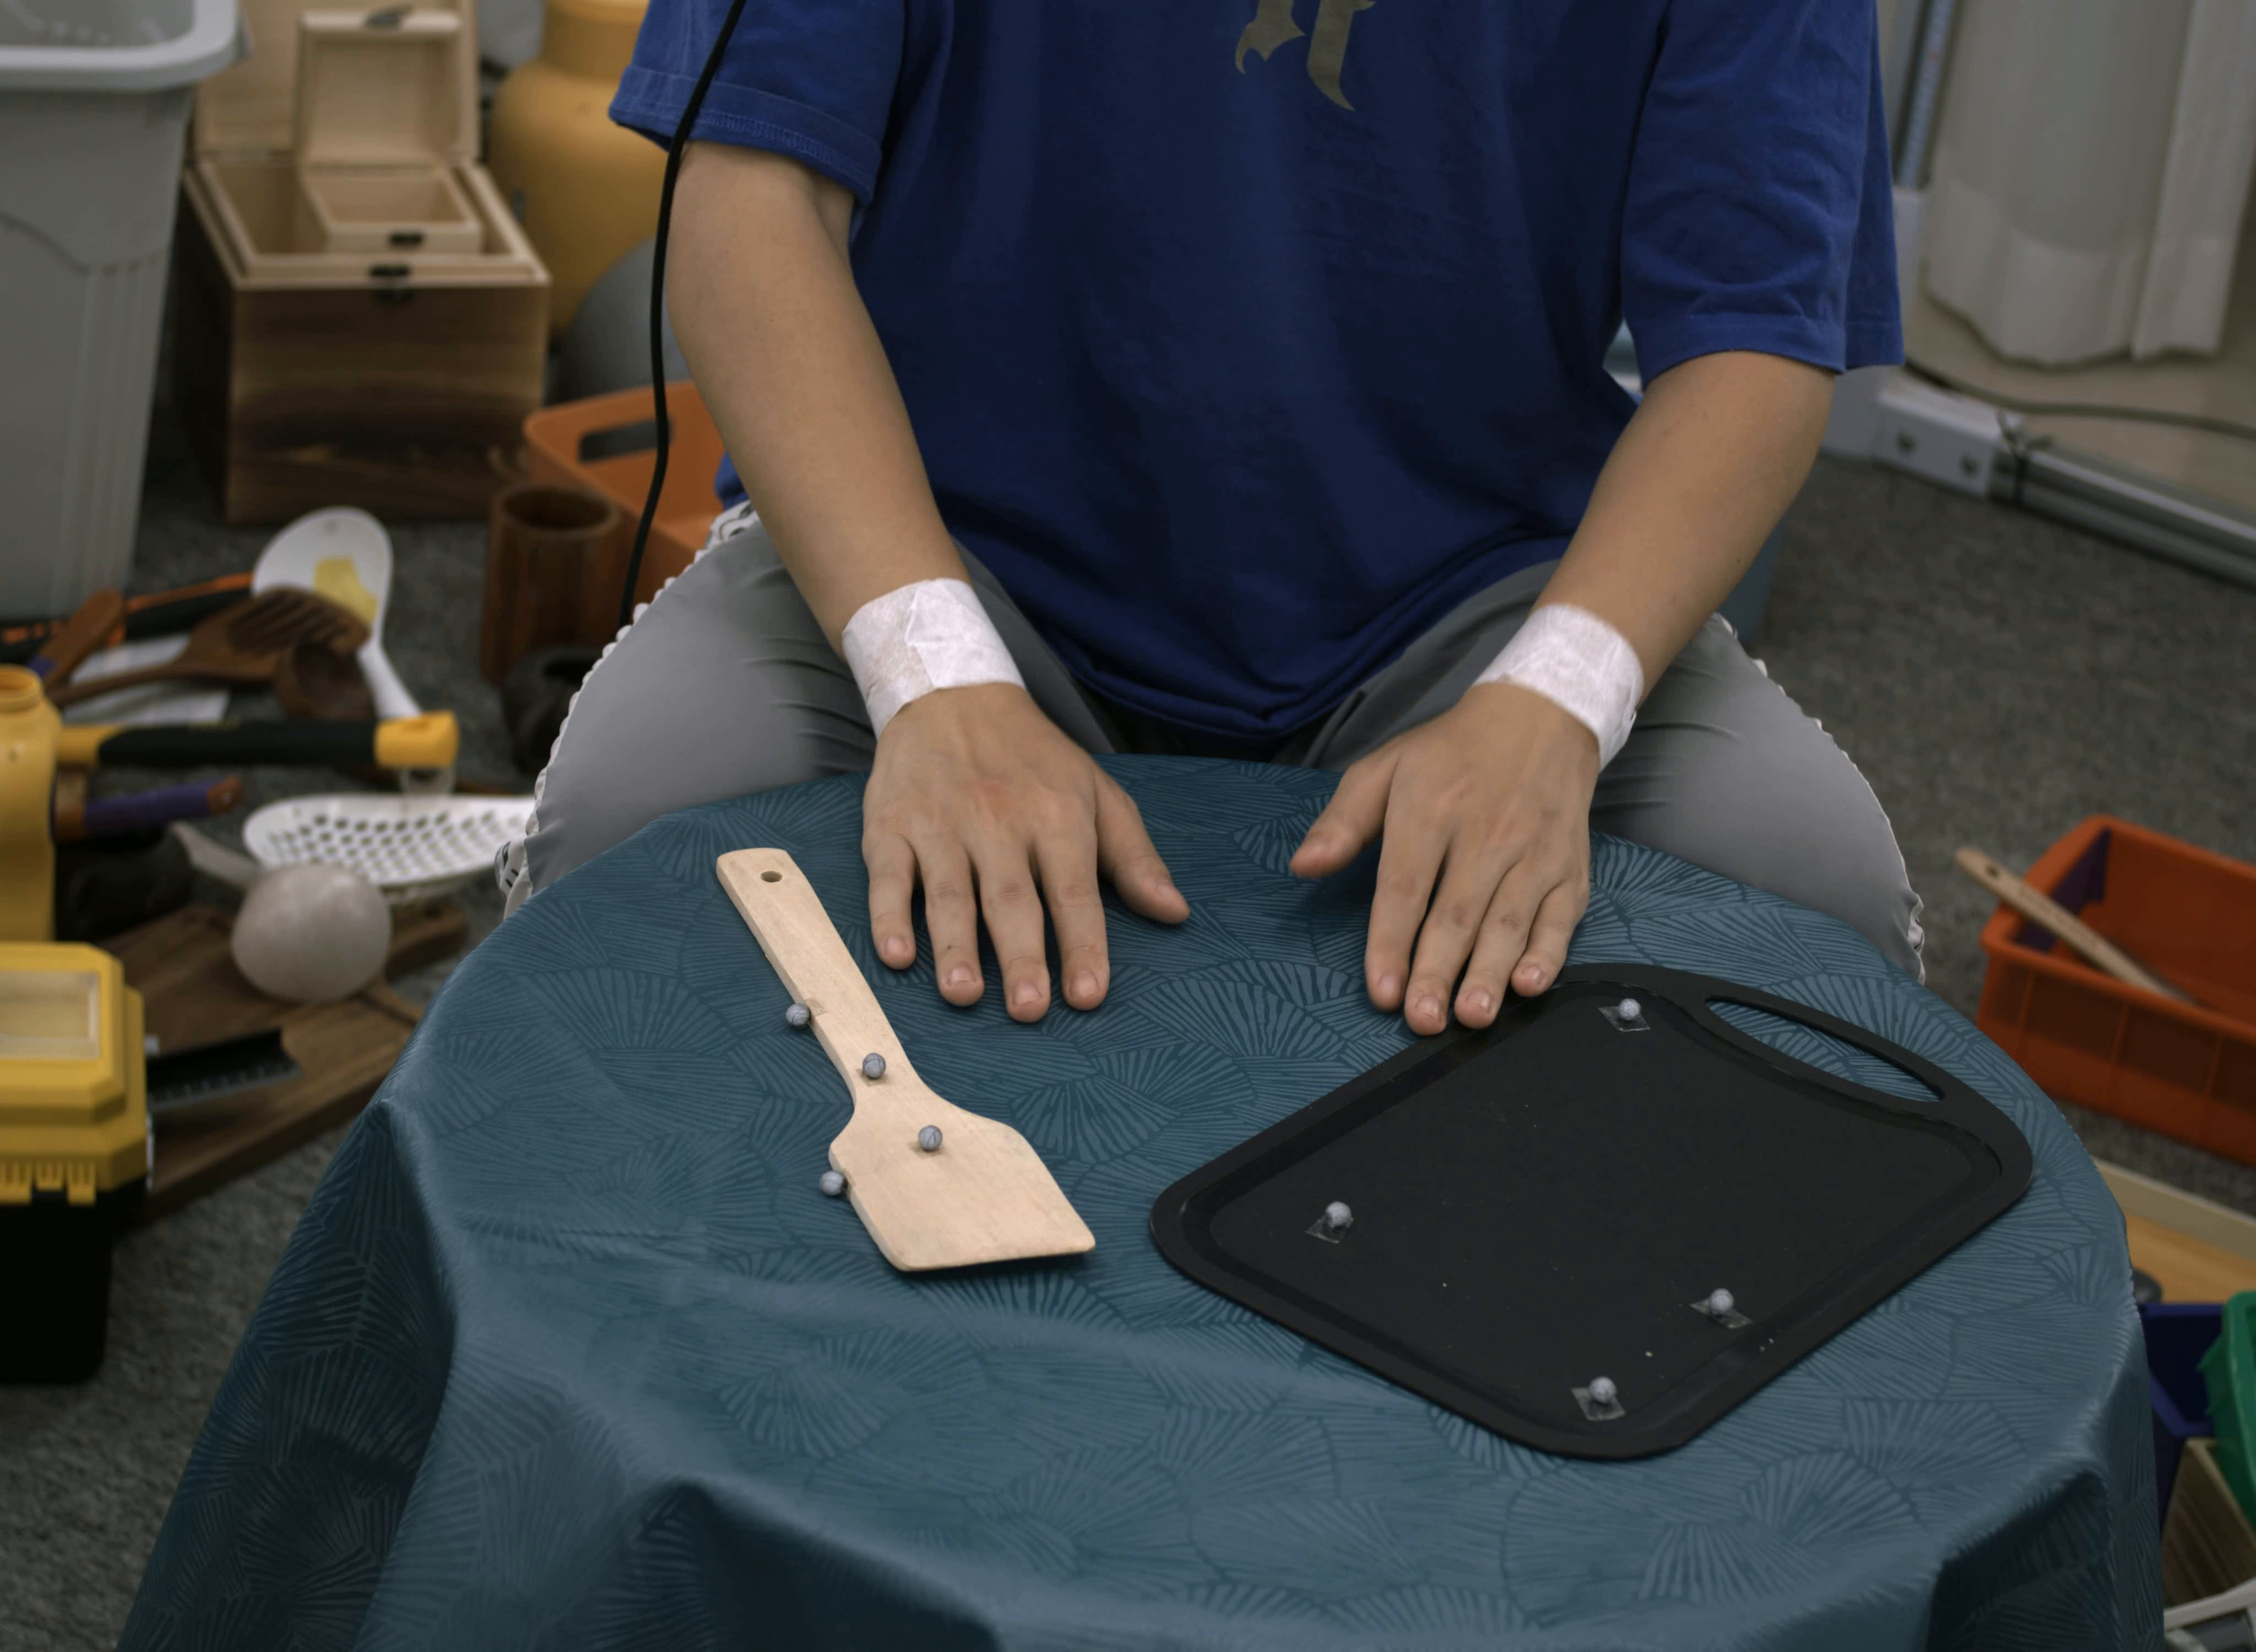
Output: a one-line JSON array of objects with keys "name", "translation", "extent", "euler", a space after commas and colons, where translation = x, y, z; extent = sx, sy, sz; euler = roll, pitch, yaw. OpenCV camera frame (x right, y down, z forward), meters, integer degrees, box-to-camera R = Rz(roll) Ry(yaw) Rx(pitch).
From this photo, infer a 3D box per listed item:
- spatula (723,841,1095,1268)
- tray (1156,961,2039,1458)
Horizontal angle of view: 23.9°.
[{"name": "spatula", "translation": [-0.092, 0.076, 1.866], "extent": [0.072, 0.010, 0.295], "euler": [-6, 29, -20]}, {"name": "tray", "translation": [0.170, 0.122, 1.839], "extent": [0.212, 0.010, 0.324], "euler": [25, 32, 32]}]
